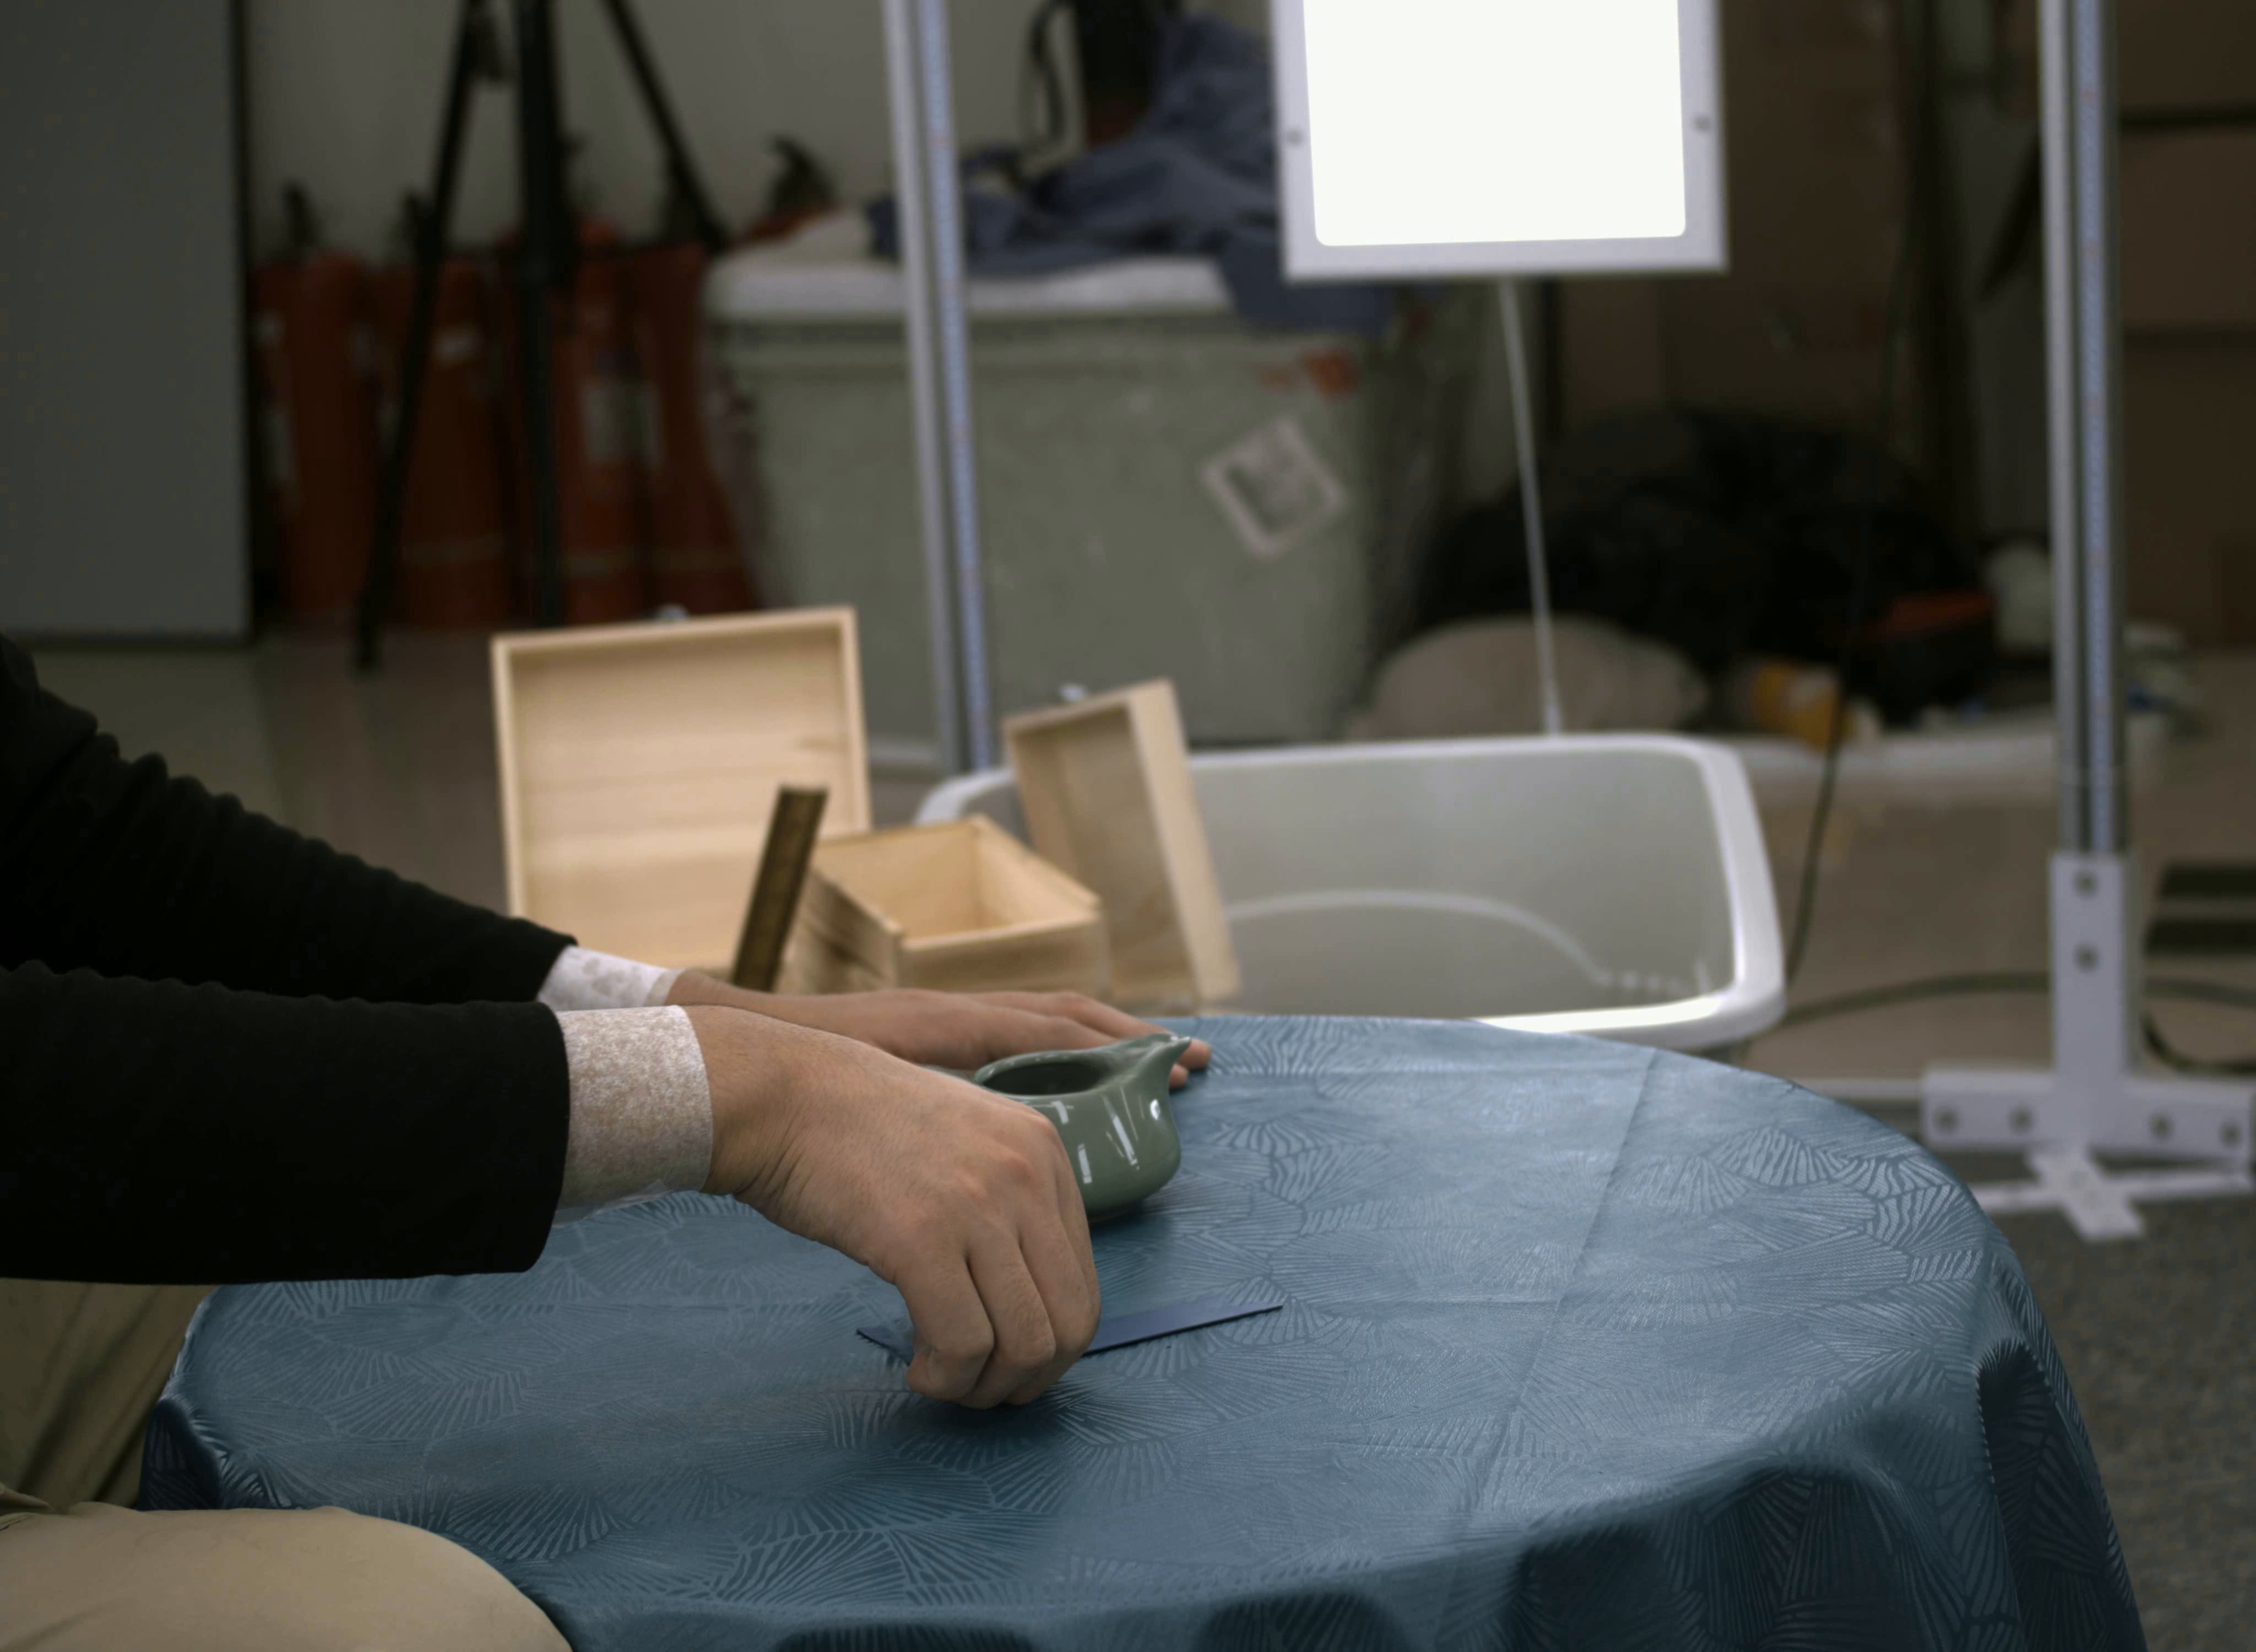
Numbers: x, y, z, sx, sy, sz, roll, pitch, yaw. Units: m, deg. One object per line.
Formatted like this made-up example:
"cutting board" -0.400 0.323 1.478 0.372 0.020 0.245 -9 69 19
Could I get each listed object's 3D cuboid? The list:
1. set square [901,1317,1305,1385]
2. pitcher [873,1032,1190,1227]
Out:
"set square" -0.010 0.165 1.737 0.132 0.006 0.060 -2 12 9
"pitcher" -0.031 0.104 1.884 0.111 0.056 0.085 -7 12 -9
